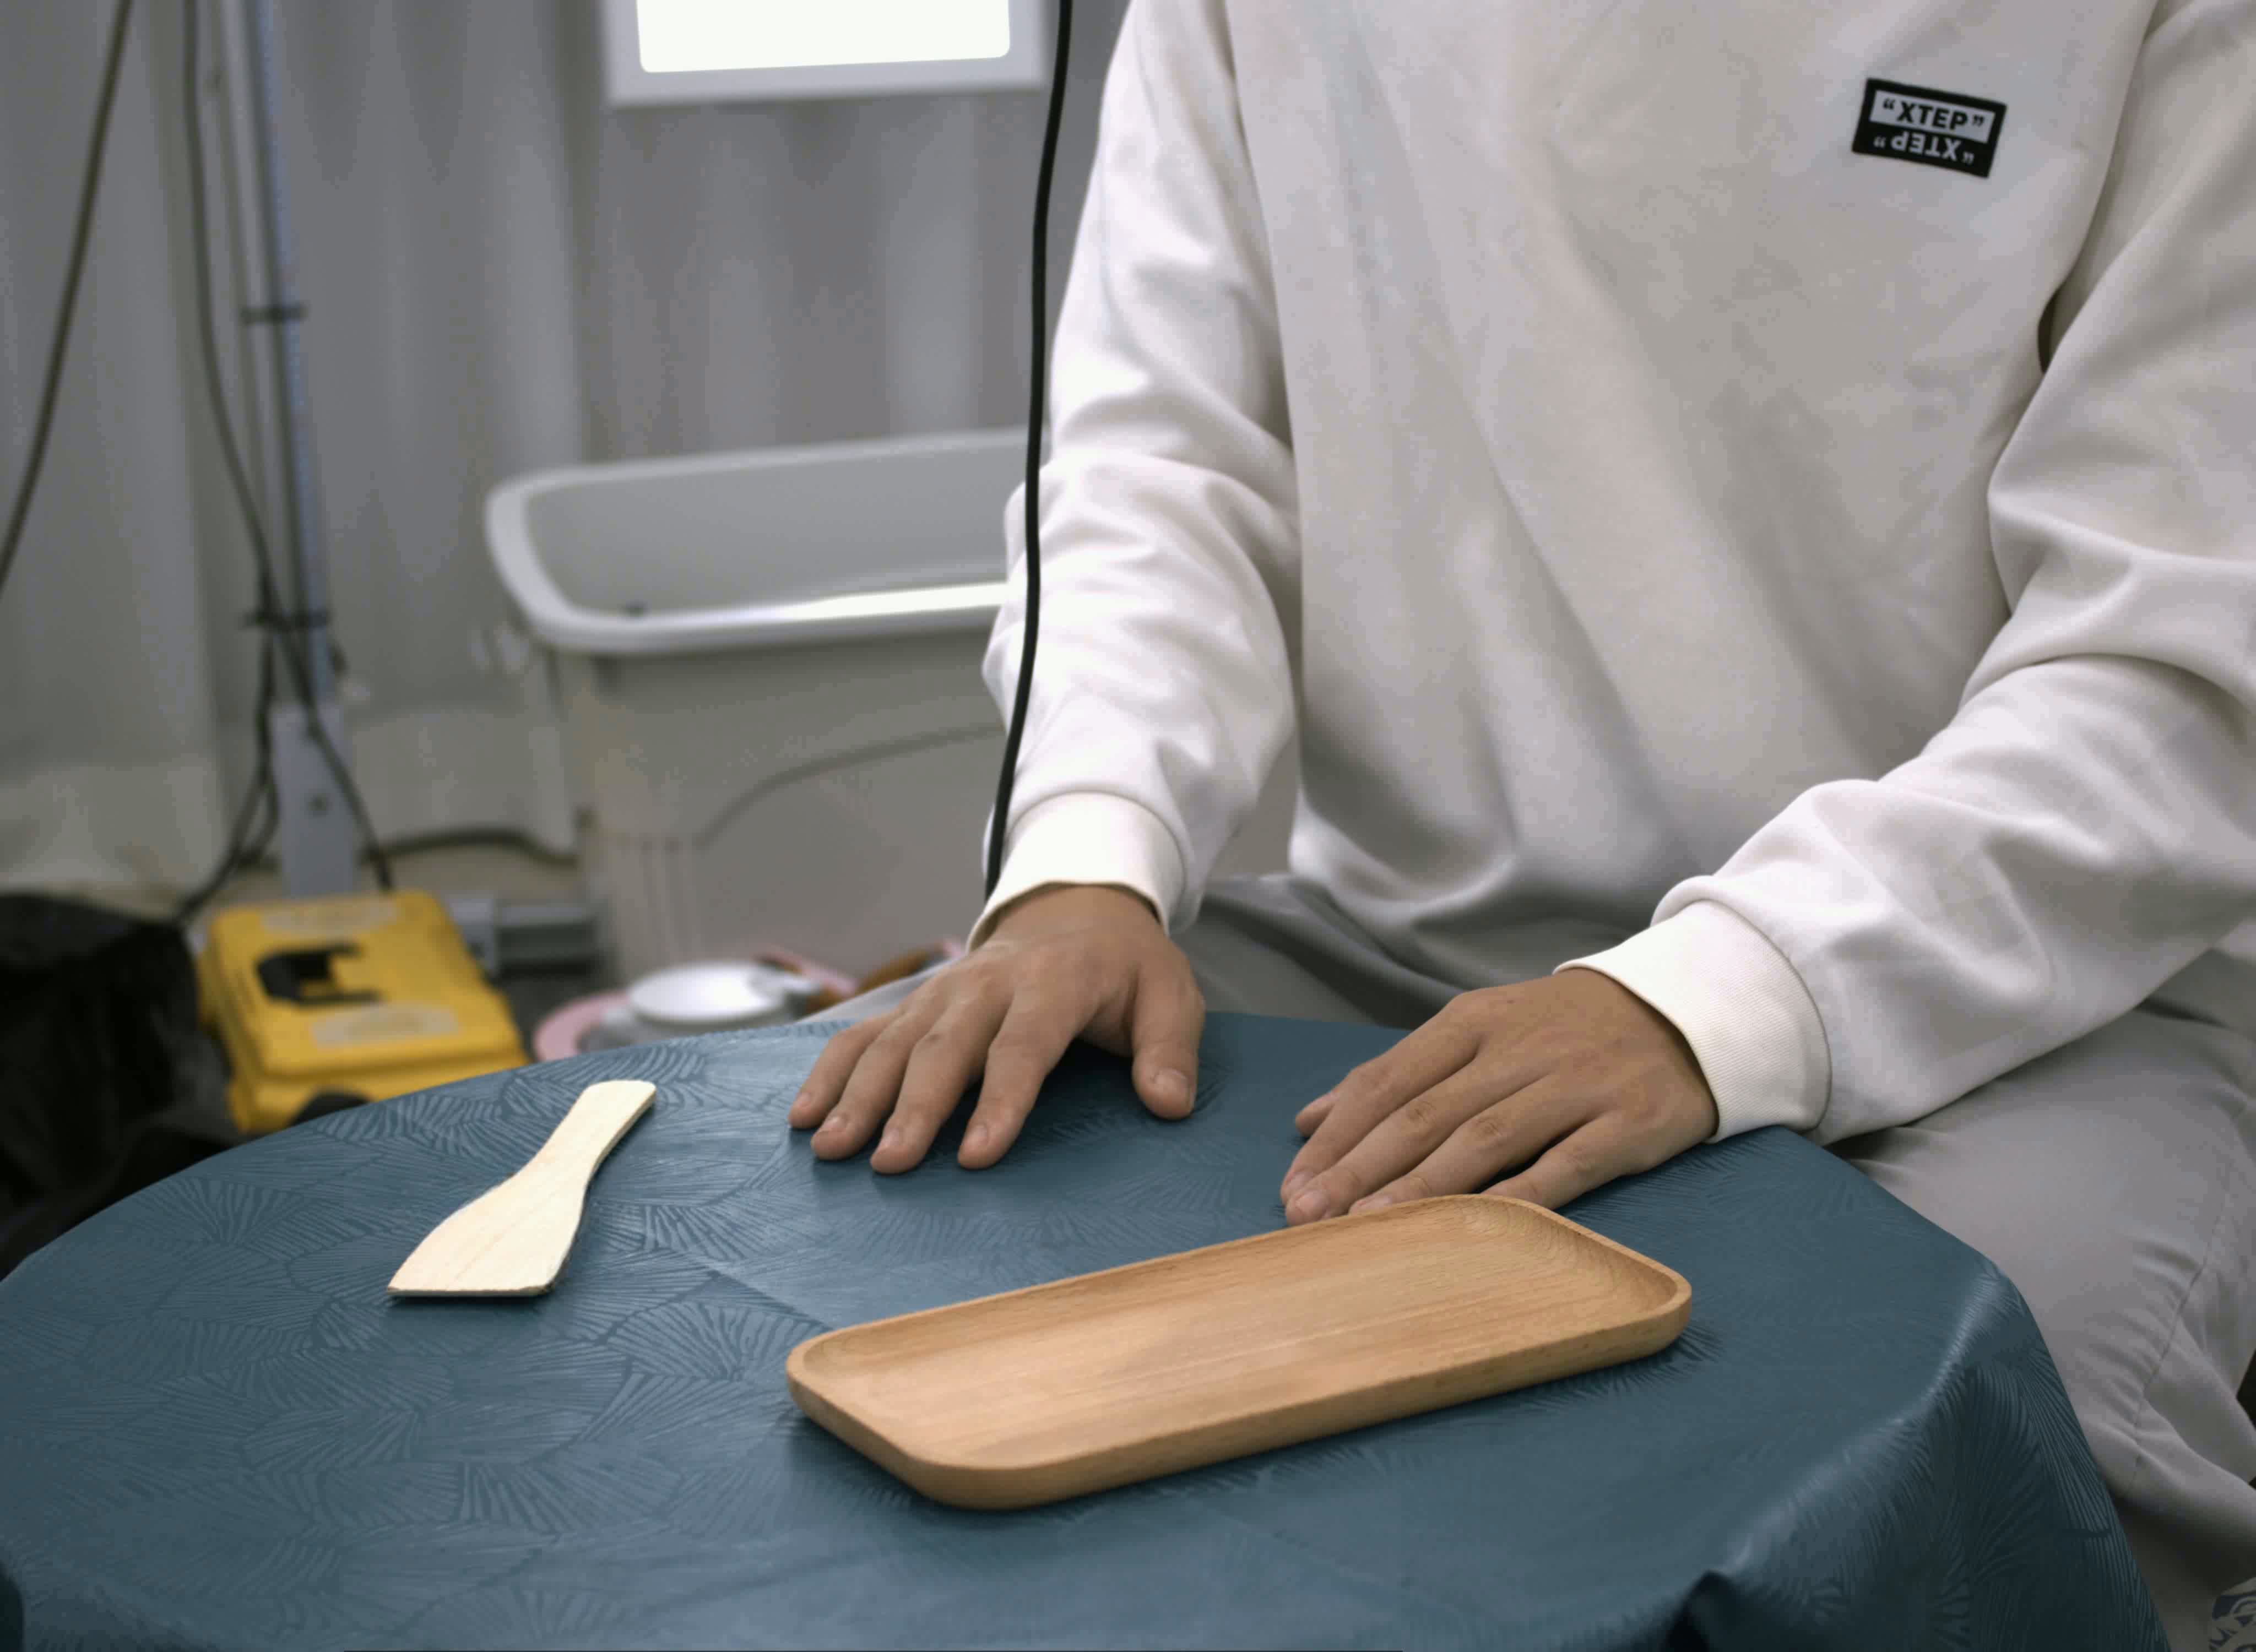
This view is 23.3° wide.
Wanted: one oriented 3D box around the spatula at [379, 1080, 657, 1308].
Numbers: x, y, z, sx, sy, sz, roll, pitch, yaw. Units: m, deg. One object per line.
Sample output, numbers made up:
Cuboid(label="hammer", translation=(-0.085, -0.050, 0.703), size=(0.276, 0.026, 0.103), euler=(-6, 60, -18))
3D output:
Cuboid(label="spatula", translation=(-0.184, 0.115, 1.733), size=(0.050, 0.005, 0.209), euler=(1, 16, 10))

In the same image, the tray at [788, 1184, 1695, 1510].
Cuboid(label="tray", translation=(0.034, 0.147, 1.555), size=(0.249, 0.023, 0.131), euler=(-10, 19, -27))
